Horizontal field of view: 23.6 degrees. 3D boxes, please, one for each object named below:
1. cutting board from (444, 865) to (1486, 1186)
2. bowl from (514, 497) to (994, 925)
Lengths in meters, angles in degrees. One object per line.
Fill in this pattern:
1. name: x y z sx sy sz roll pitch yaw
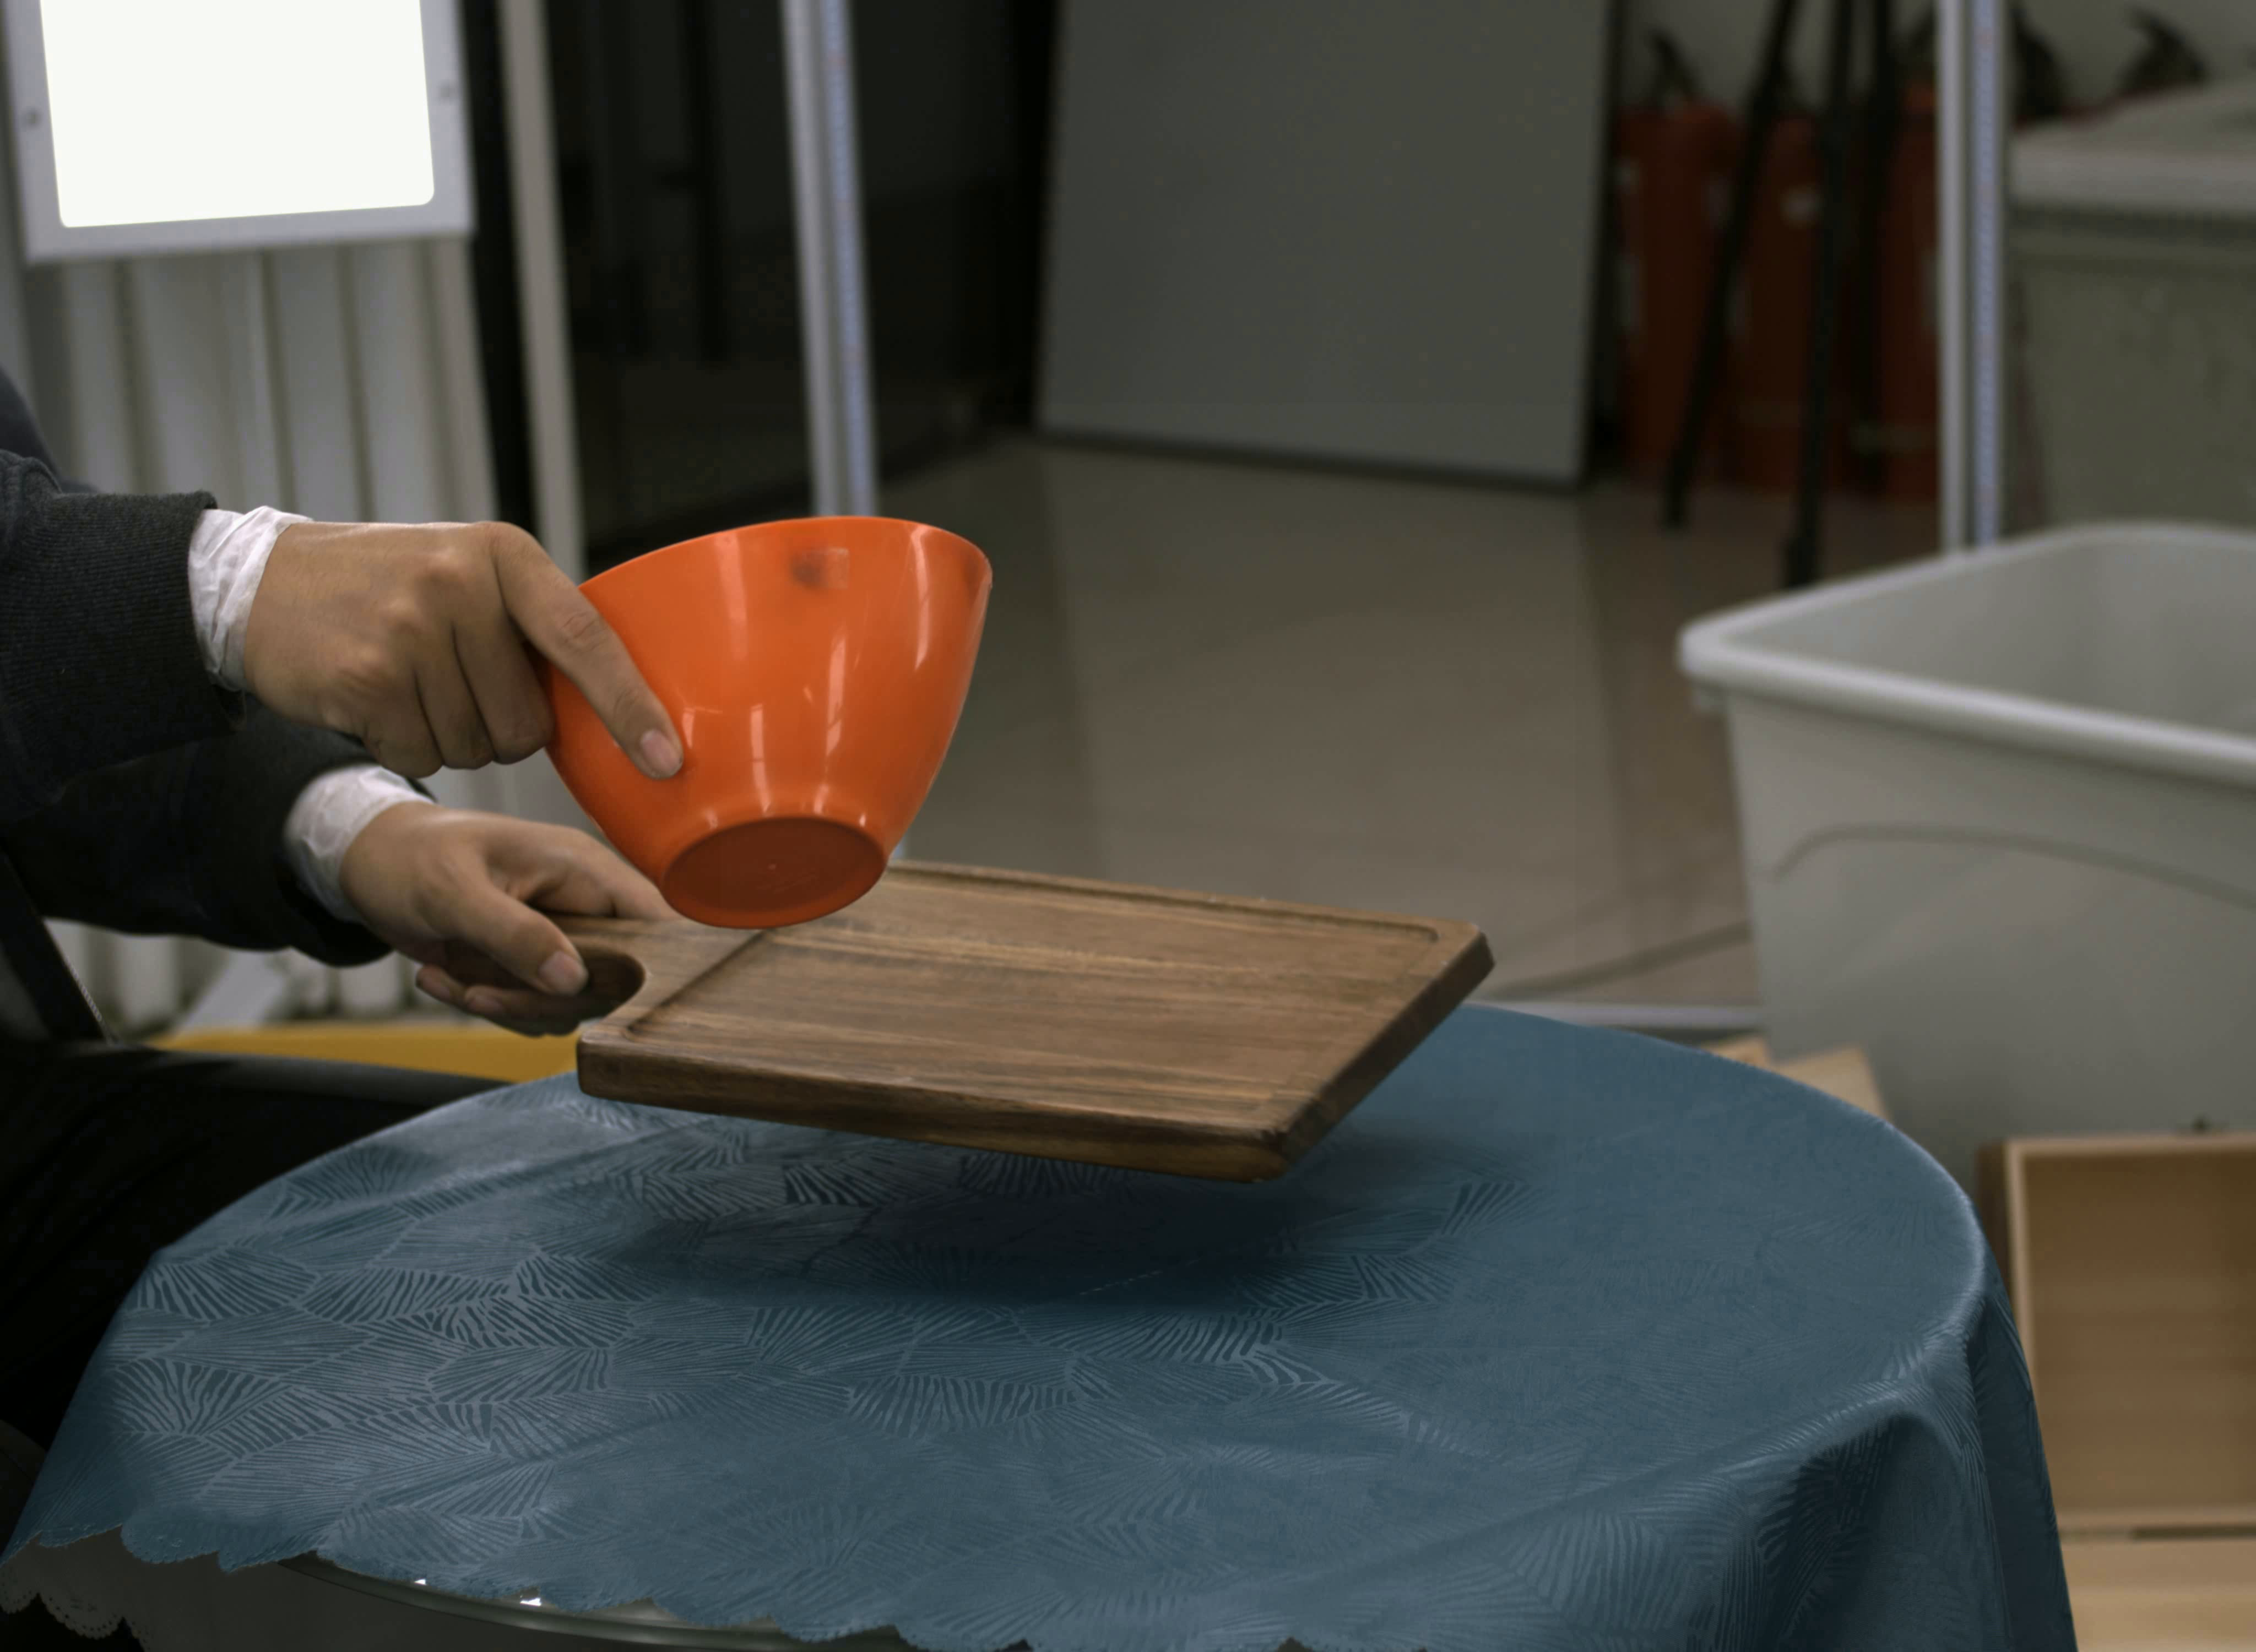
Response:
1. cutting board: -0.072 0.057 1.796 0.352 0.023 0.199 5 20 25
2. bowl: -0.105 -0.028 1.597 0.146 0.106 0.148 -7 -30 -5
